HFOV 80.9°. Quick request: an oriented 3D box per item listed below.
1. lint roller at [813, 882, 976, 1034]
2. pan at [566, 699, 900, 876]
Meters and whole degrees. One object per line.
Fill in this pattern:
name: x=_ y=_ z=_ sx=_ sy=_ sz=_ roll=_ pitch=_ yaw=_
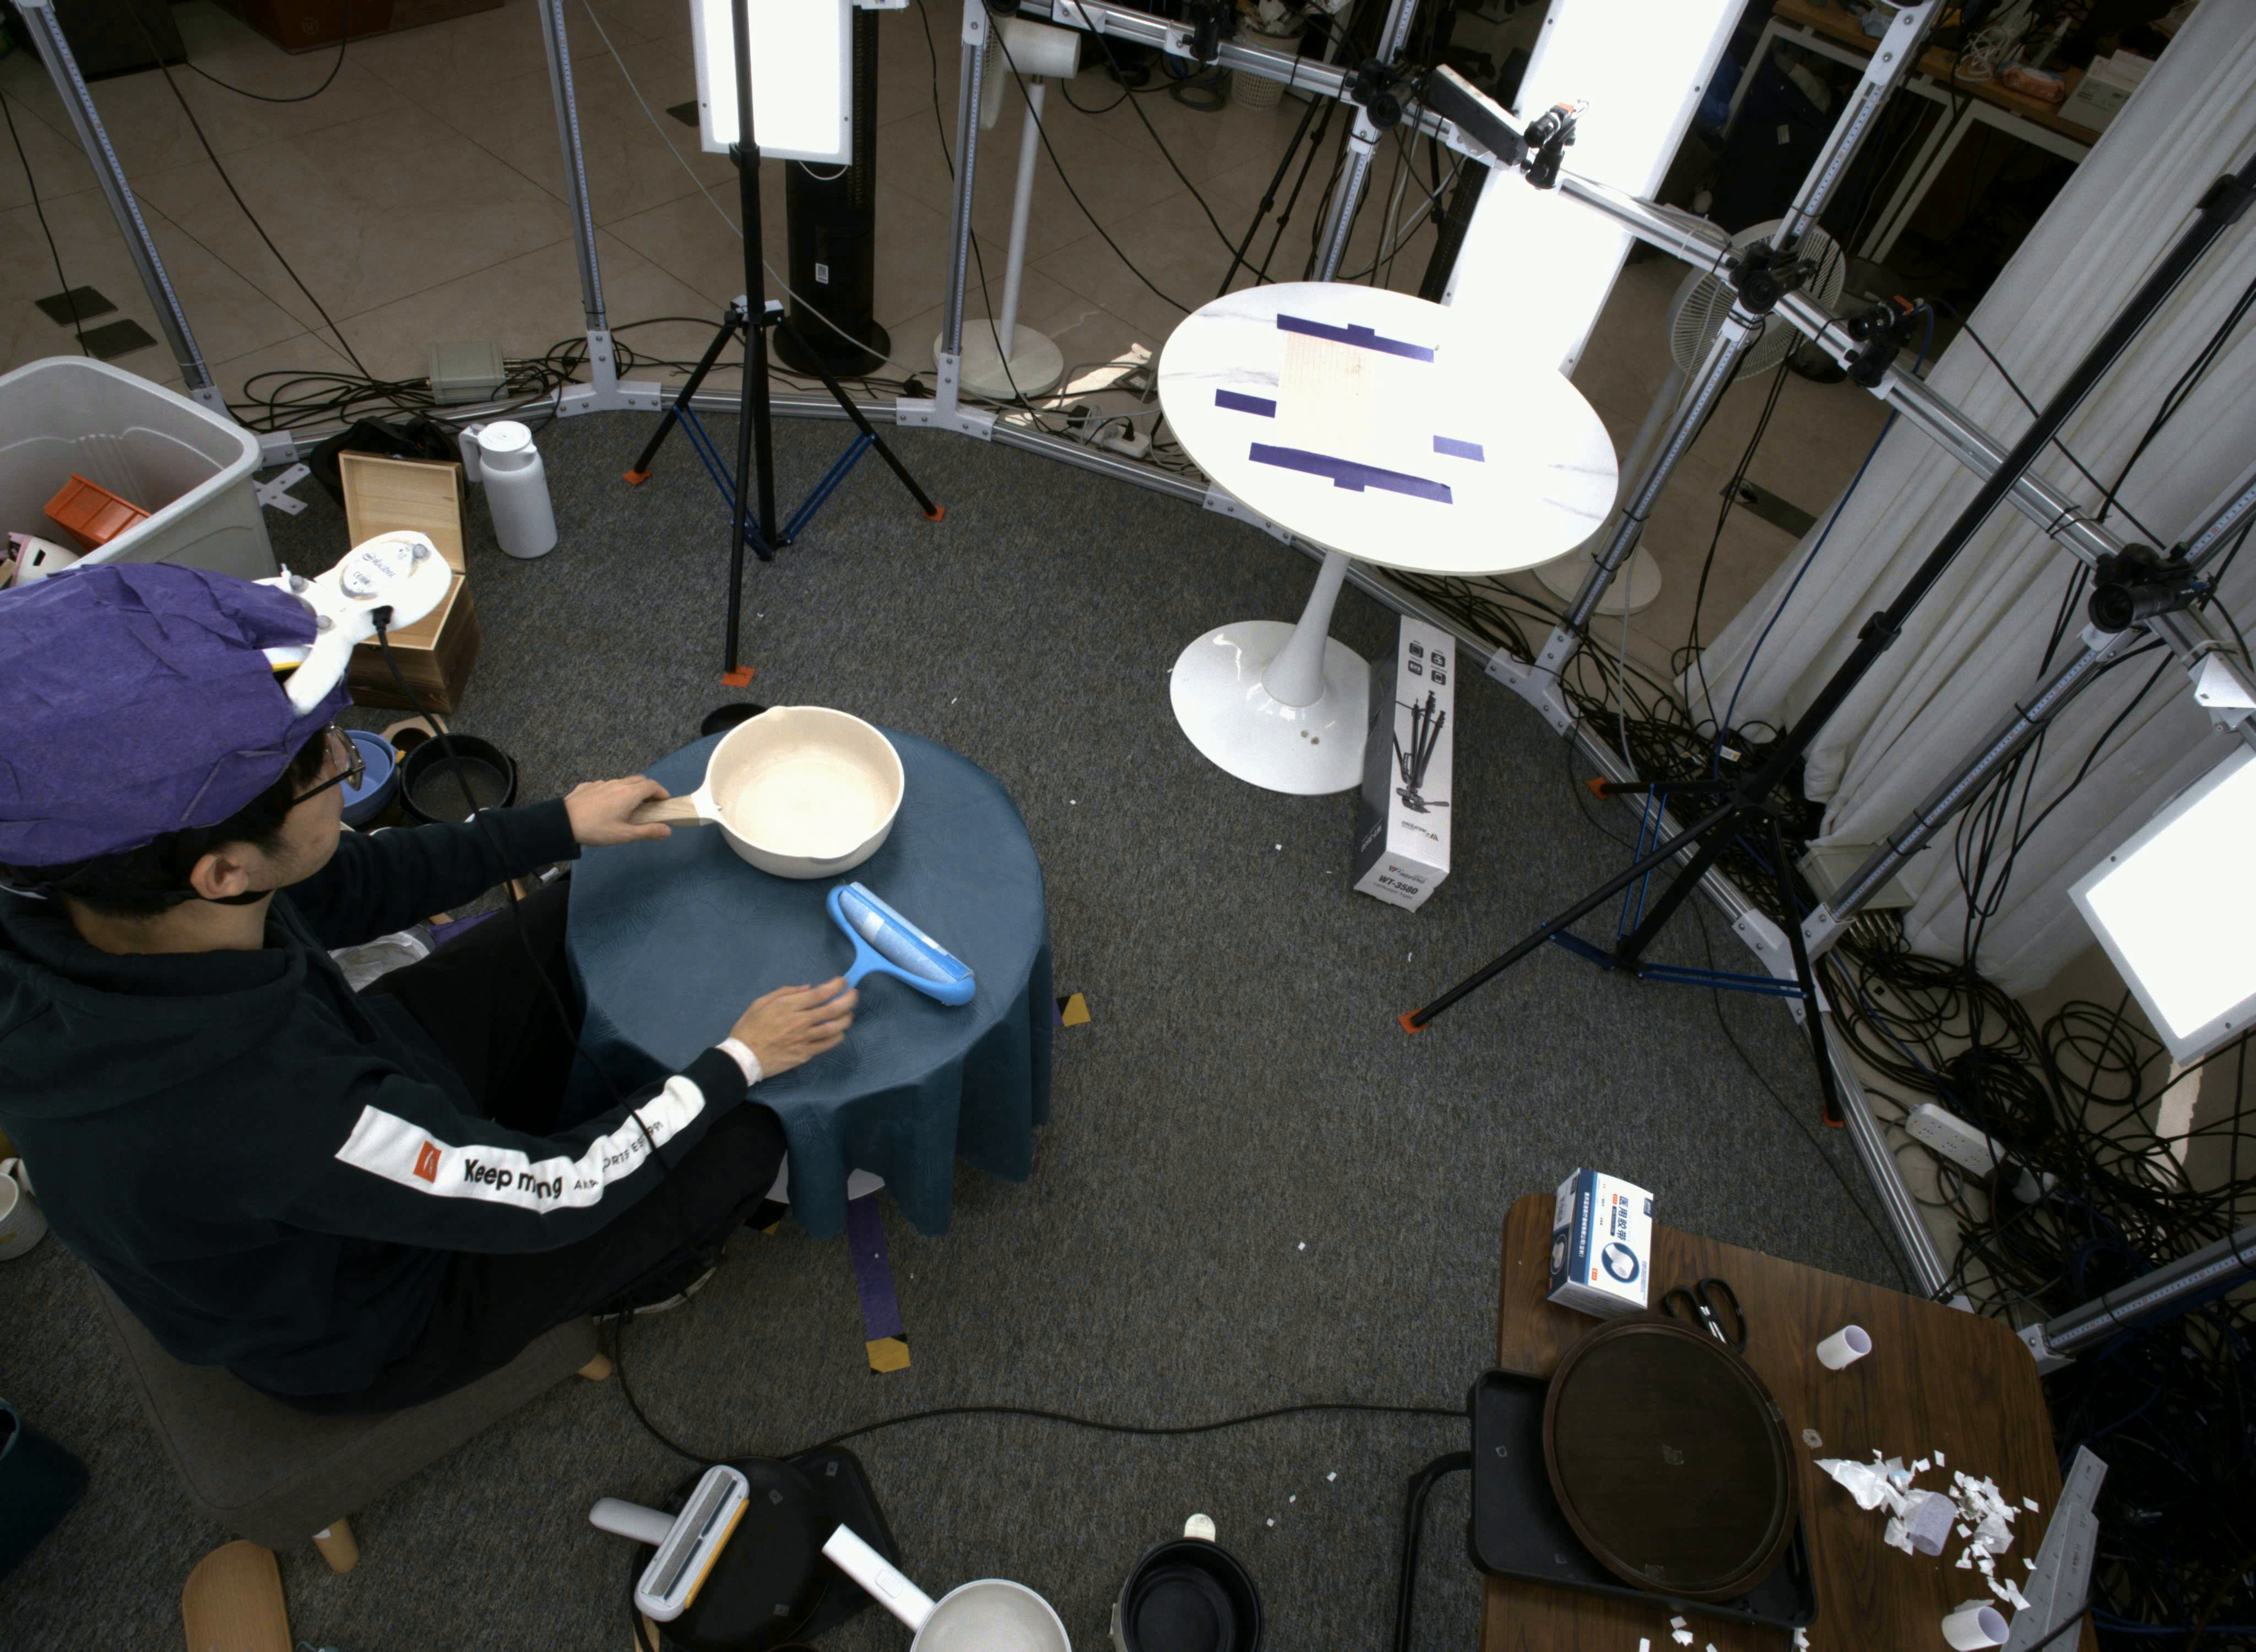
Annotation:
lint roller: x=-0.315 y=0.177 z=1.591 sx=0.225 sy=0.069 sz=0.180 roll=34 pitch=52 yaw=10
pan: x=-0.505 y=-0.023 z=1.661 sx=0.437 sy=0.104 sz=0.257 roll=-18 pitch=62 yaw=-25
